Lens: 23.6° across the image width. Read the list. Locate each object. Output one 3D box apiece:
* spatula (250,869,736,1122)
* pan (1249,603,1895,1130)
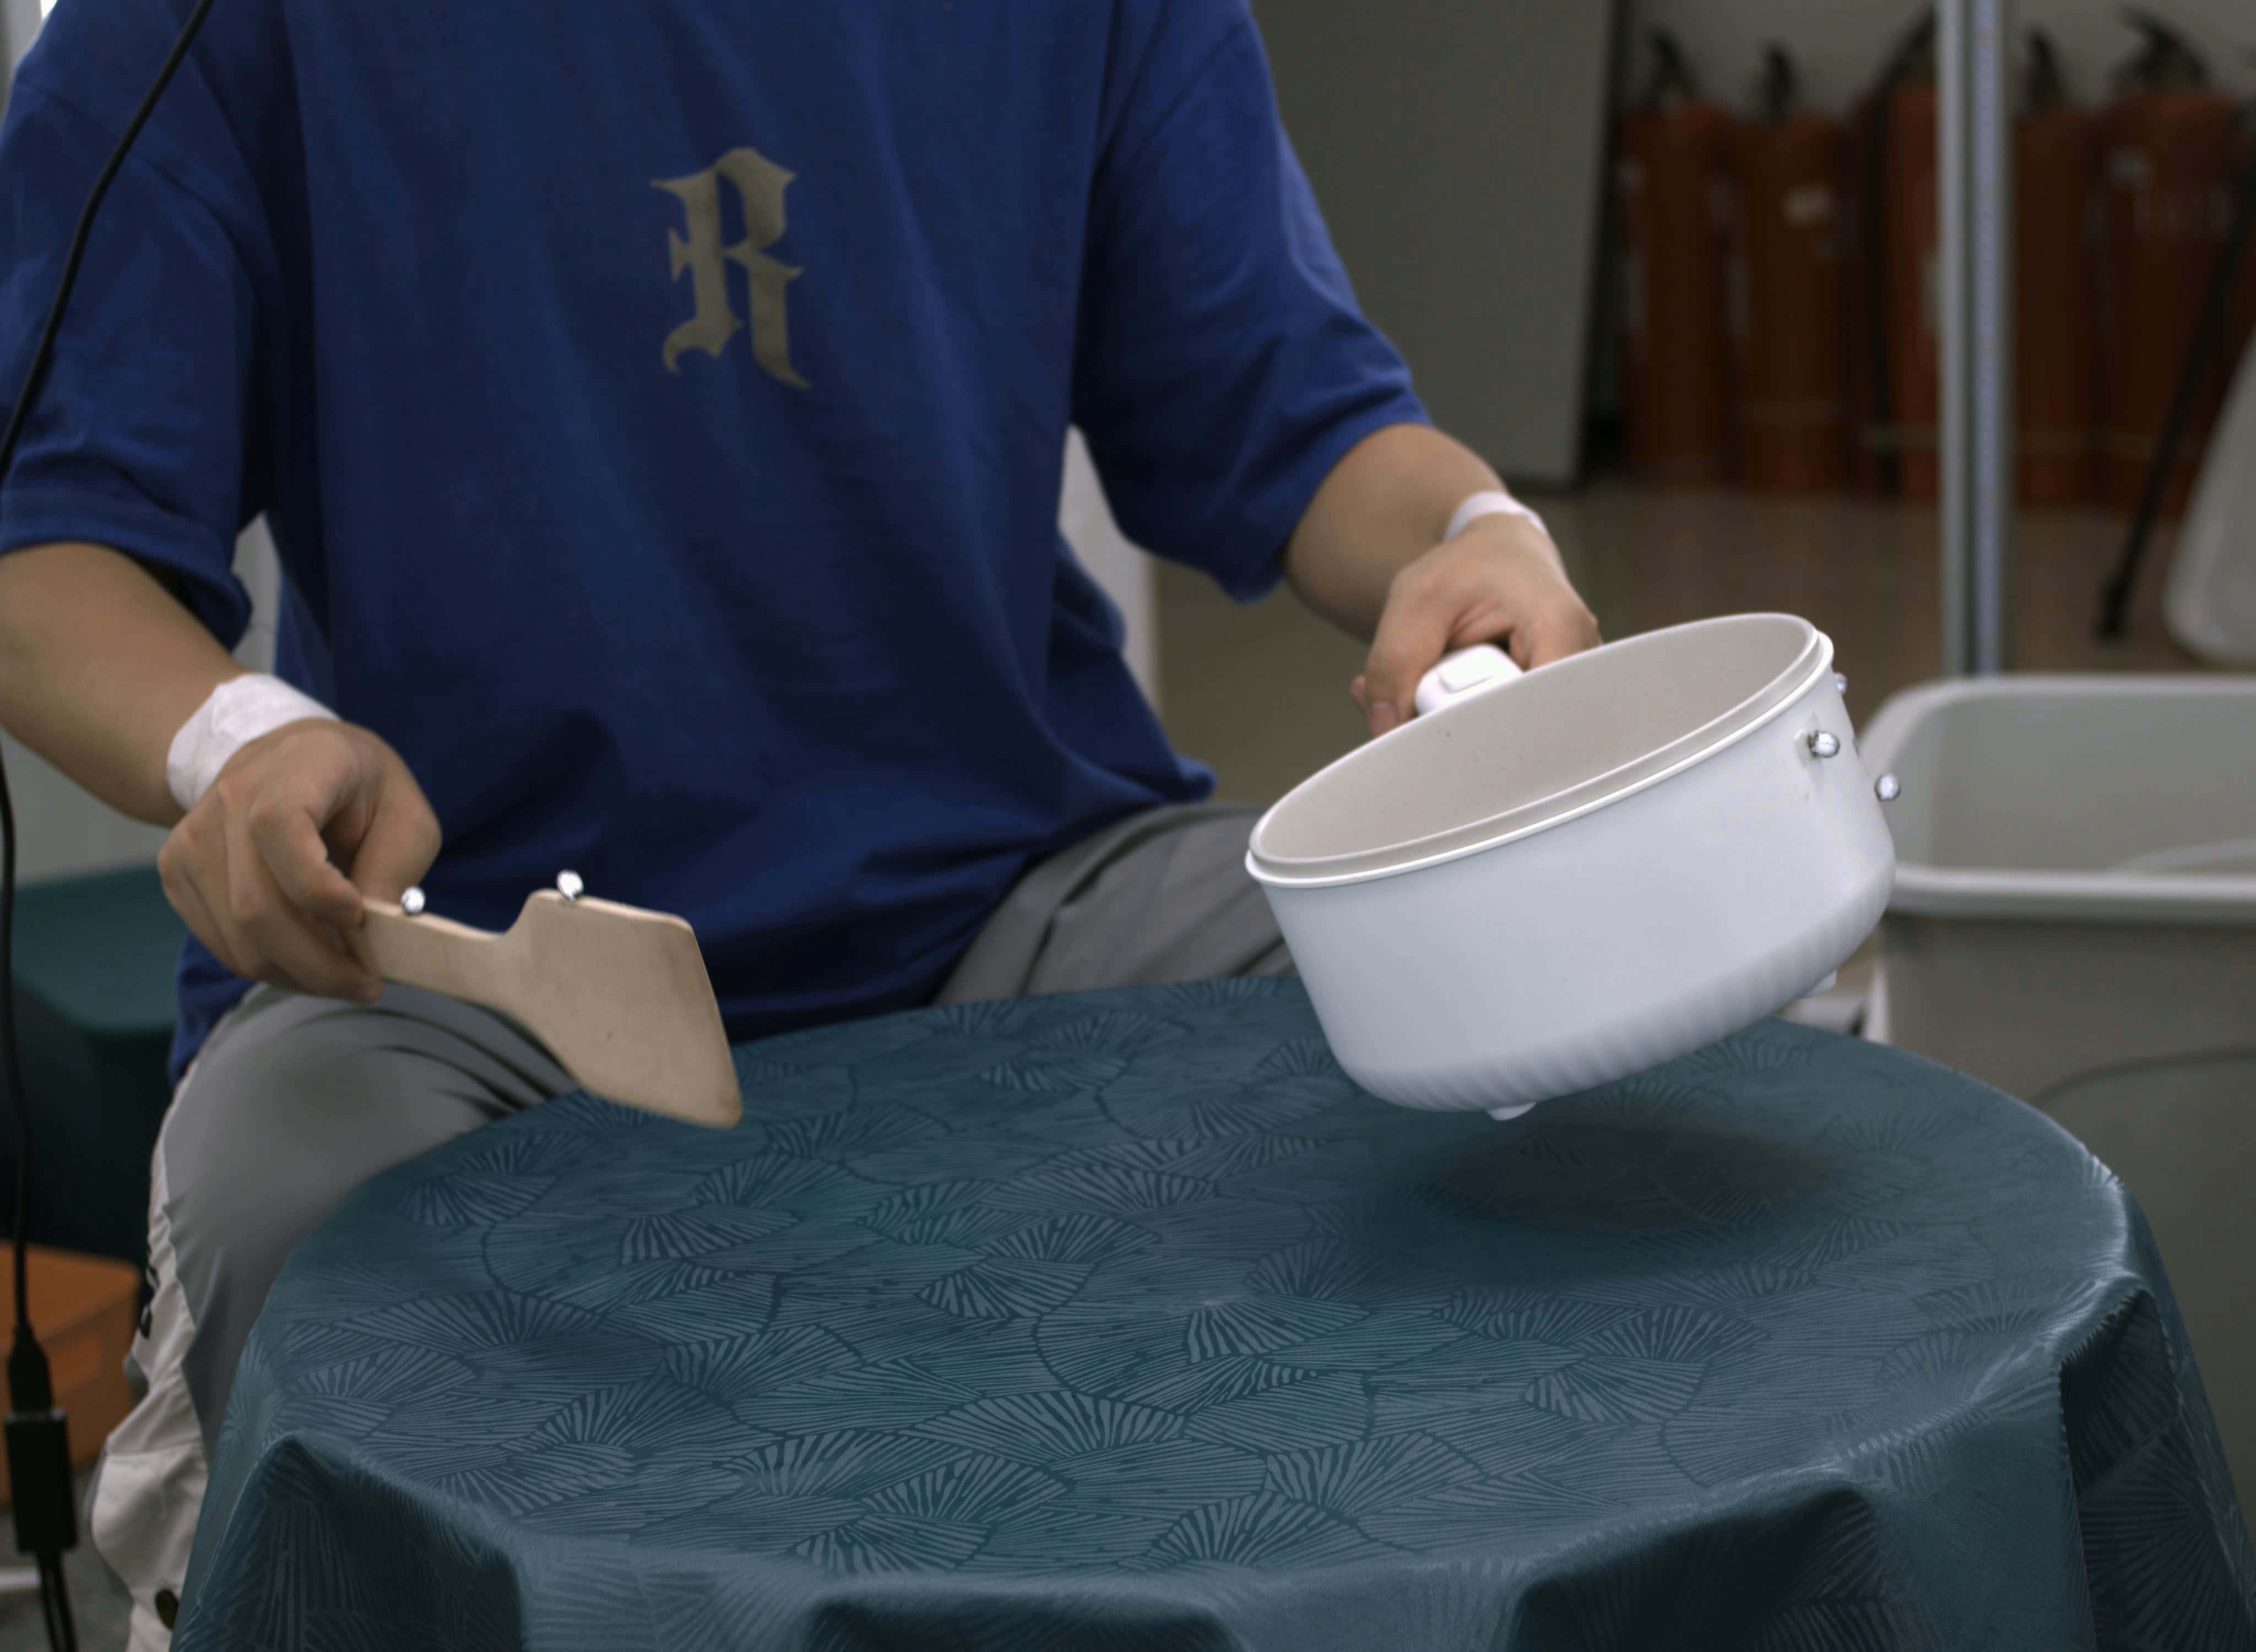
[{"bbox_3d":[-0.213,0.042,1.743,0.010,0.073,0.296,-27,21,-30],"label":"spatula"},{"bbox_3d":[0.141,0.004,1.804,0.199,0.102,0.356,-25,11,0],"label":"pan"}]
